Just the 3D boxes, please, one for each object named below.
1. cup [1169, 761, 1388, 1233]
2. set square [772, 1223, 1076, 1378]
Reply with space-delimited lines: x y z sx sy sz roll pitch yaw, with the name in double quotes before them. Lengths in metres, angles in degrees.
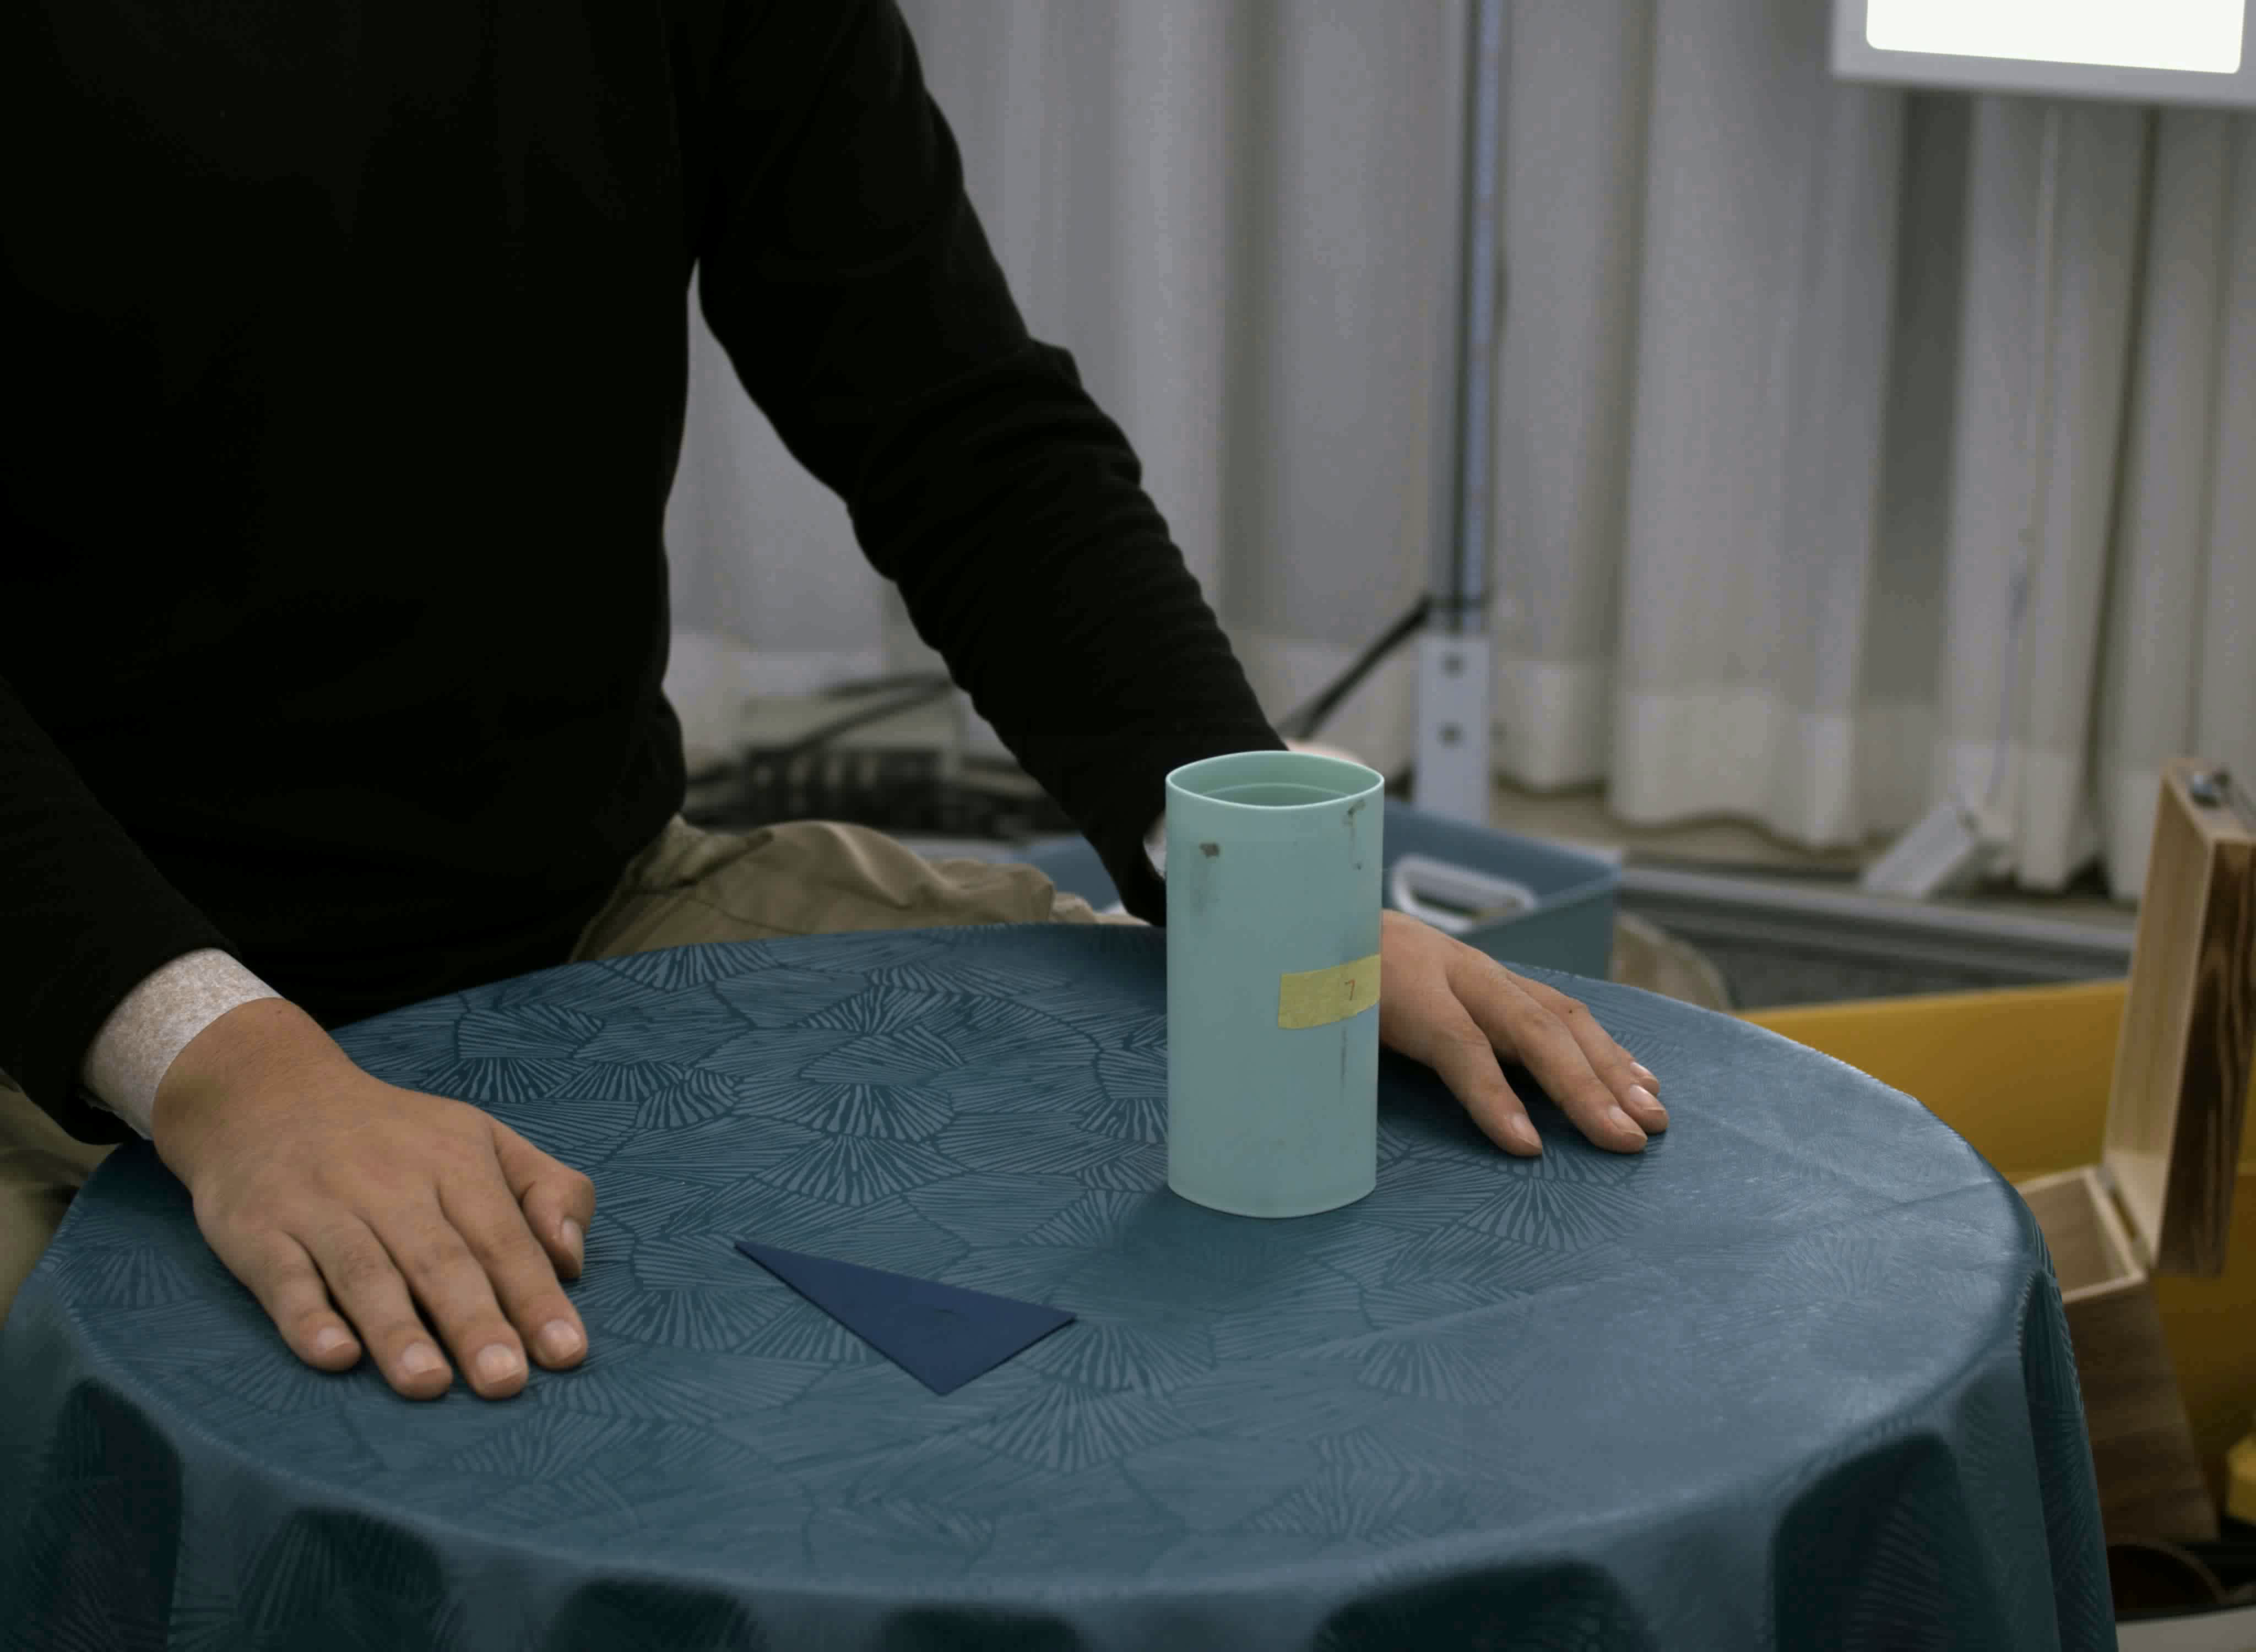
"cup" 0.044 0.051 1.611 0.066 0.133 0.066 0 17 0
"set square" -0.057 0.133 1.536 0.061 0.006 0.130 -9 18 -23
